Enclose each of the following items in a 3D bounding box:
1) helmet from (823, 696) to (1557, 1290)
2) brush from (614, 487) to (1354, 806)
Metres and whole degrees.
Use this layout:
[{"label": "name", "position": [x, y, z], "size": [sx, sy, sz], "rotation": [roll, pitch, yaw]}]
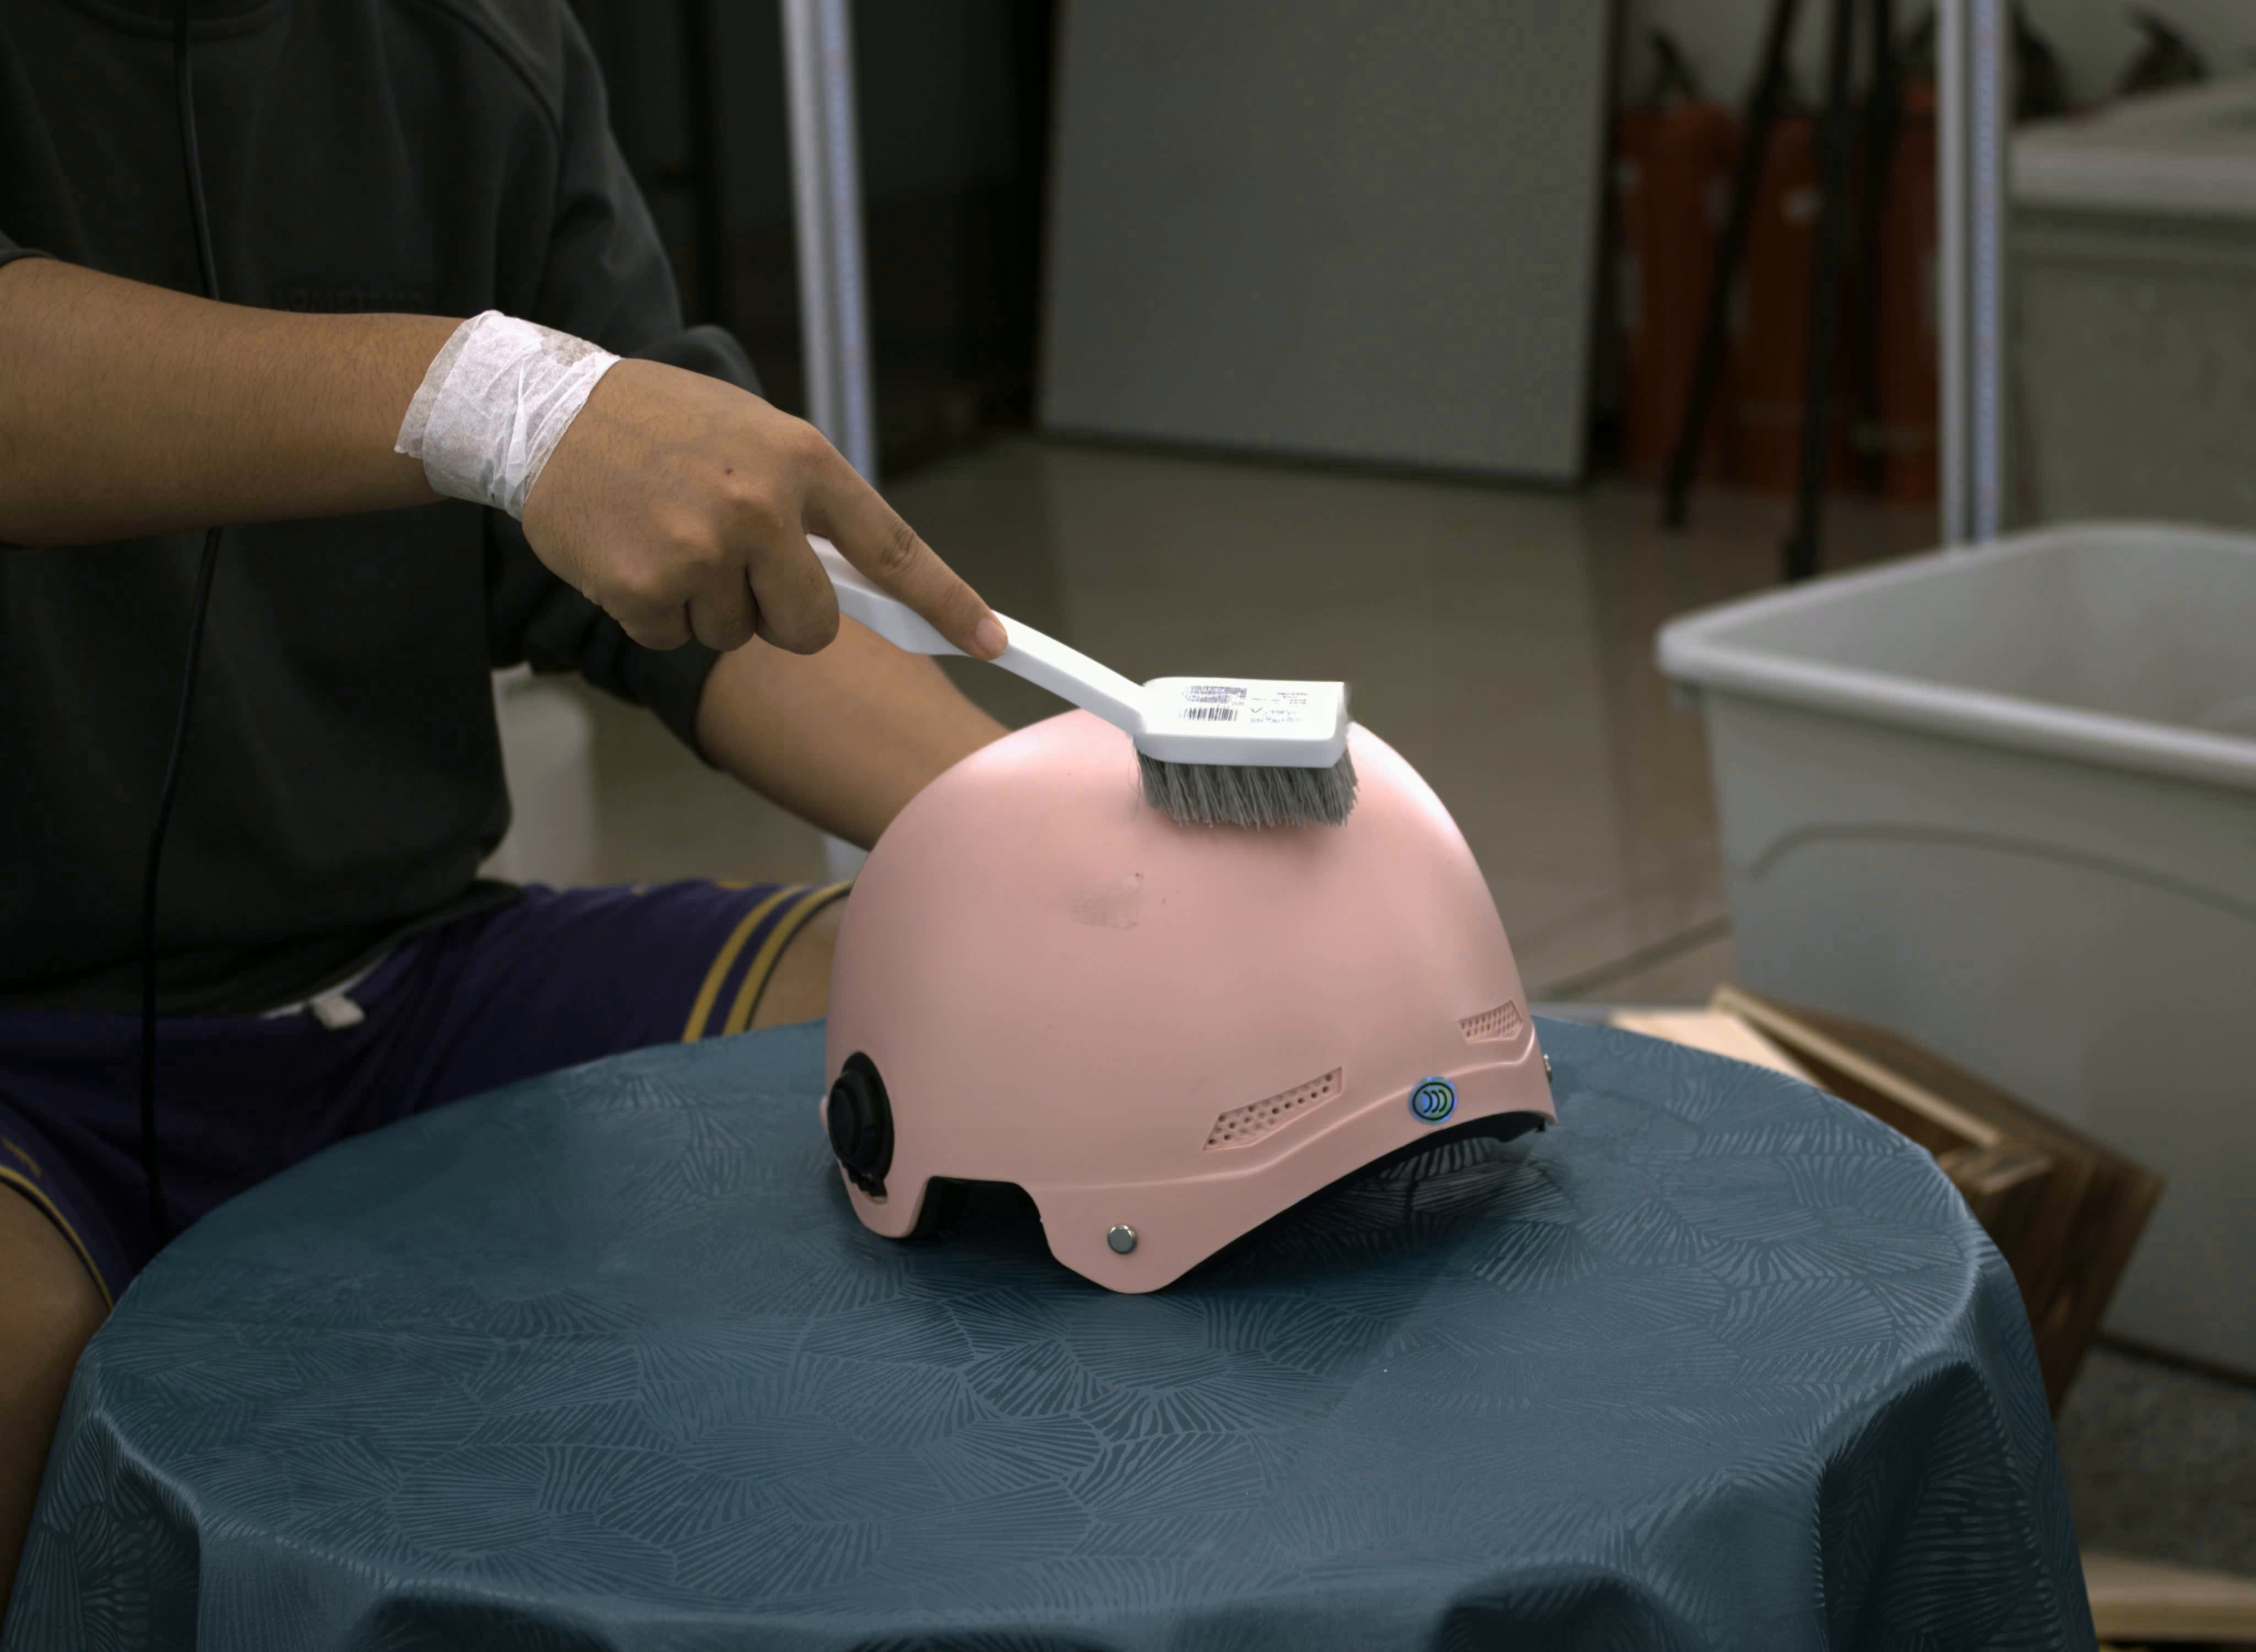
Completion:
[{"label": "helmet", "position": [0.006, 0.036, 1.766], "size": [0.229, 0.160, 0.269], "rotation": [-19, 16, -33]}, {"label": "brush", "position": [-0.044, -0.051, 1.655], "size": [0.240, 0.051, 0.034], "rotation": [15, 33, -3]}]
